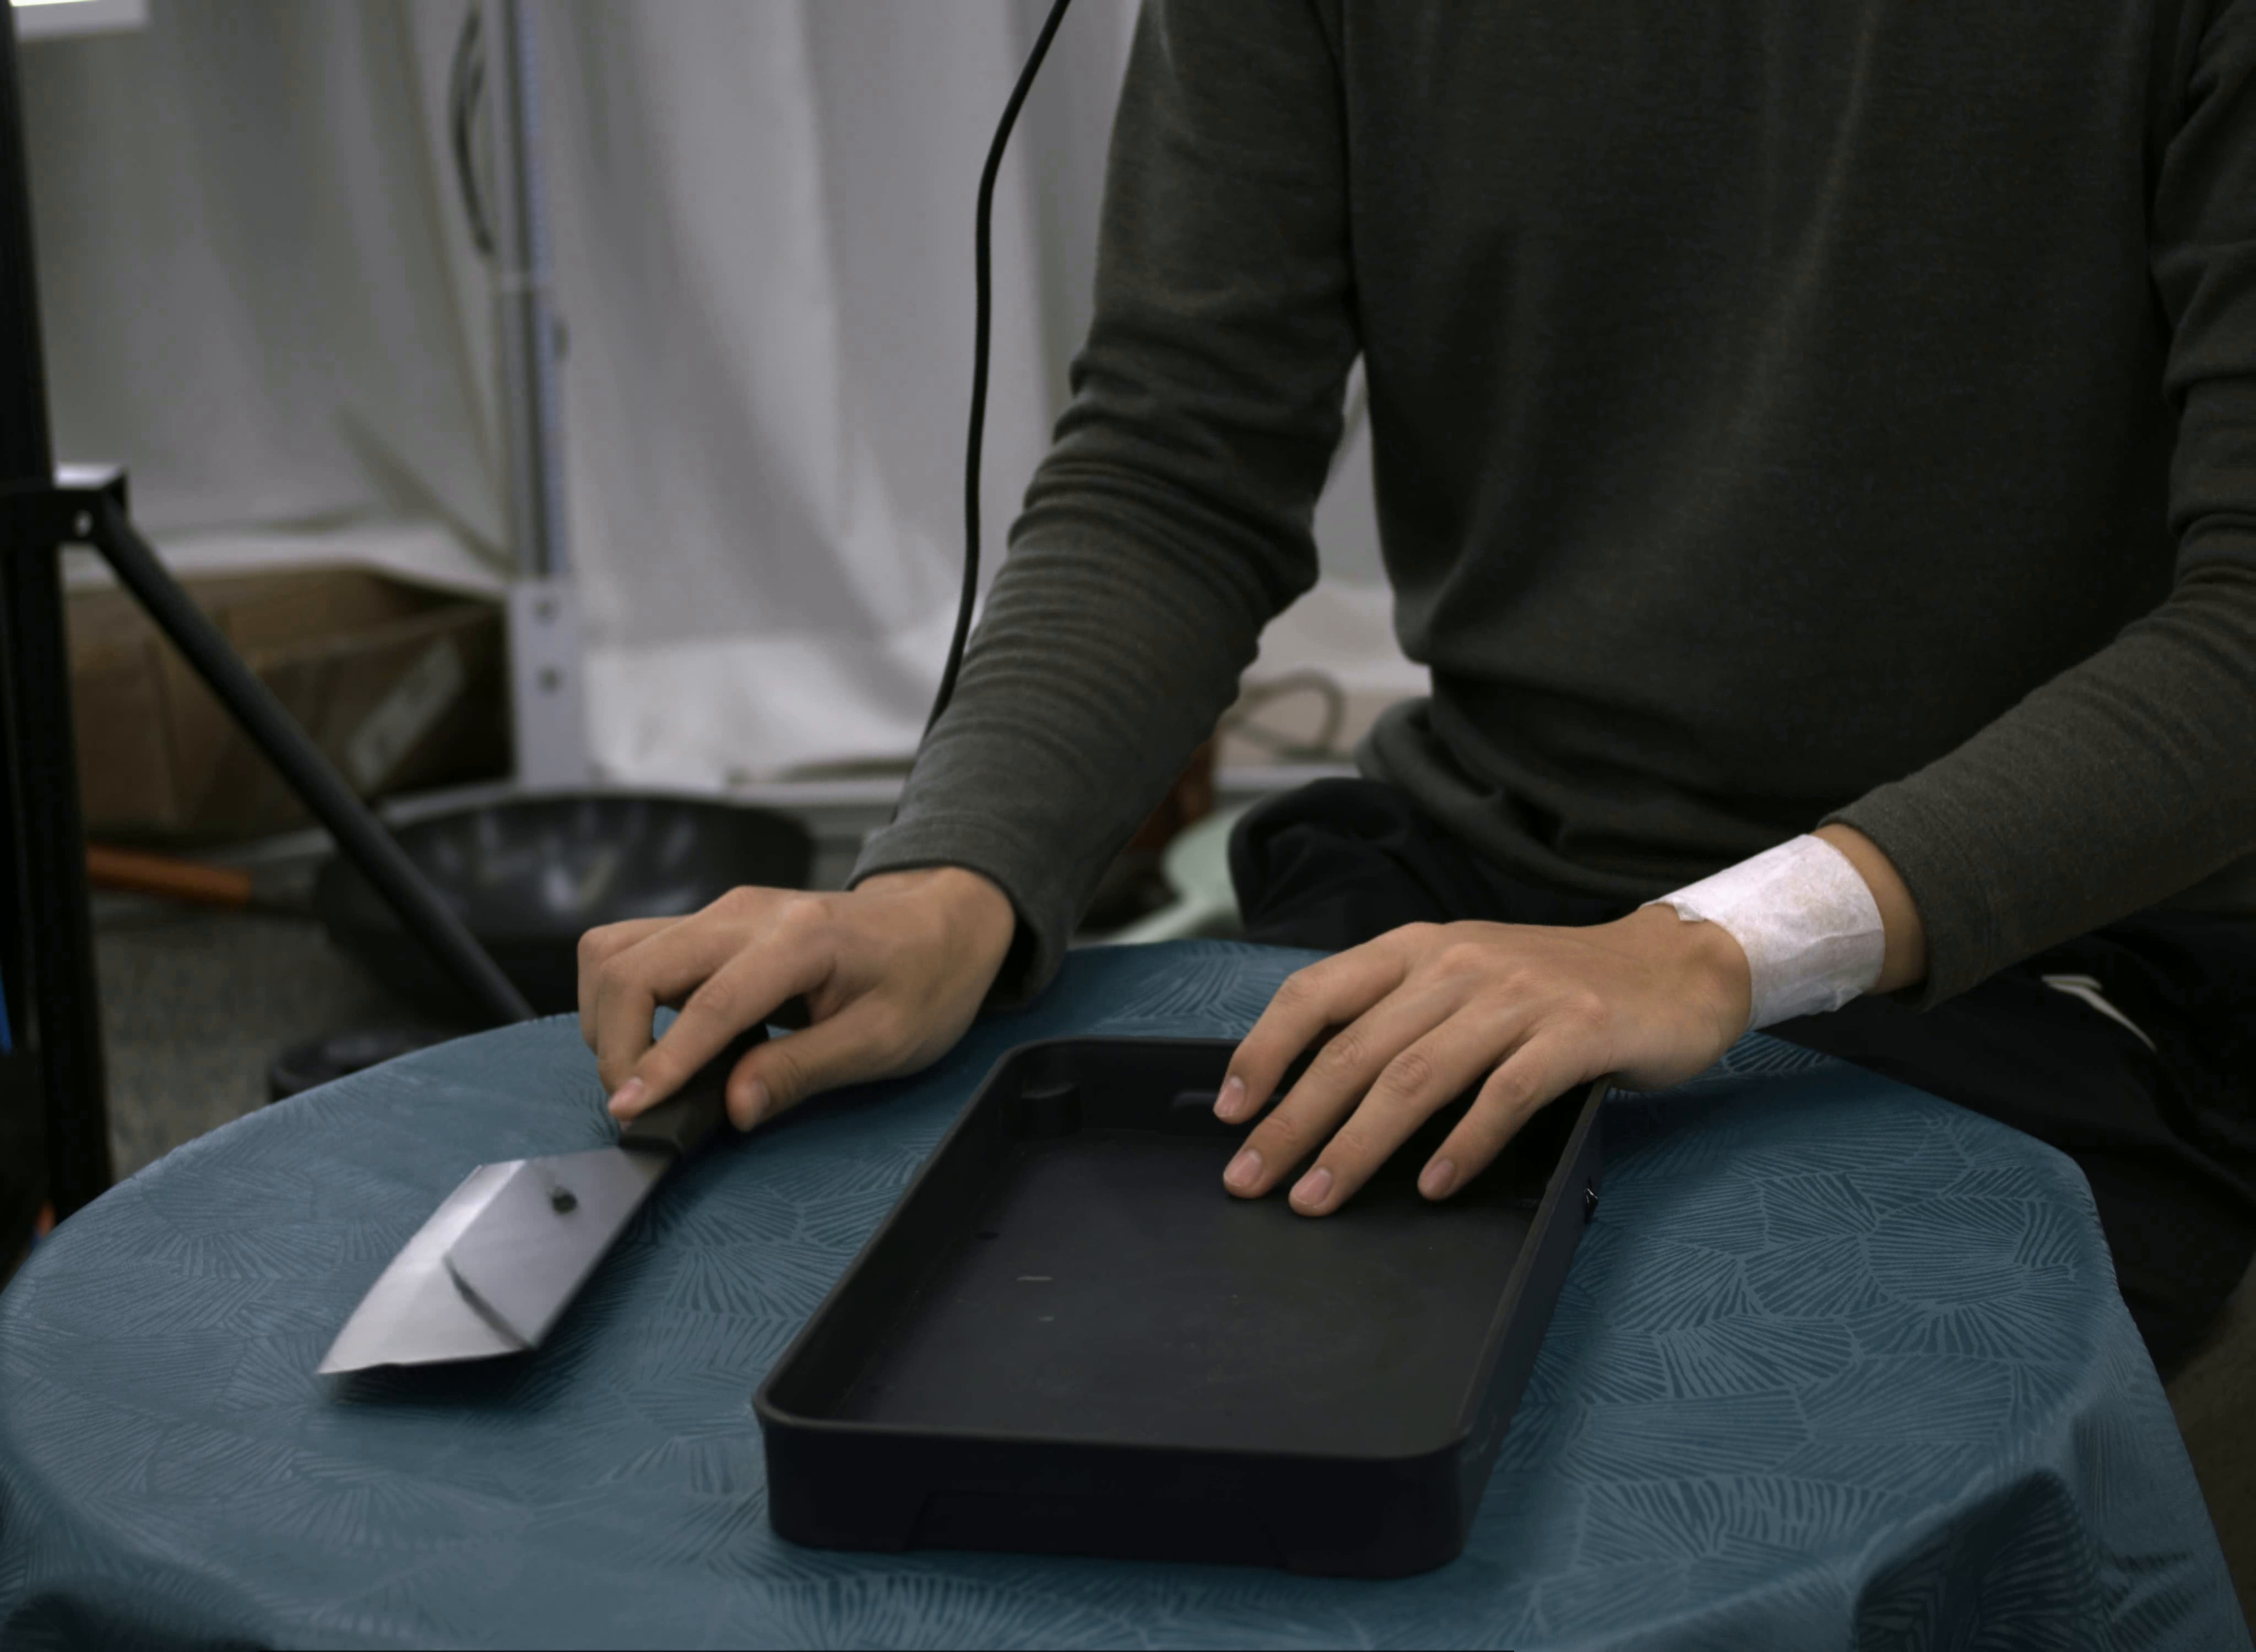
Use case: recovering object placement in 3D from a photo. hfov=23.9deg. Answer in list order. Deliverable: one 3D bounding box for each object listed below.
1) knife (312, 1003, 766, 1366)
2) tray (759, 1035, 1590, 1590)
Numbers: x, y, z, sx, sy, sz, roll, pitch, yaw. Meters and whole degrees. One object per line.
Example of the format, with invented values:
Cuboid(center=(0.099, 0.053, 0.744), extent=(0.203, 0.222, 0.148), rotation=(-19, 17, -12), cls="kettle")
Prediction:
Cuboid(center=(-0.164, 0.104, 1.561), extent=(0.081, 0.021, 0.300), rotation=(-7, 14, 16), cls="knife")
Cuboid(center=(0.022, 0.124, 1.435), extent=(0.185, 0.037, 0.316), rotation=(1, 16, 11), cls="tray")
